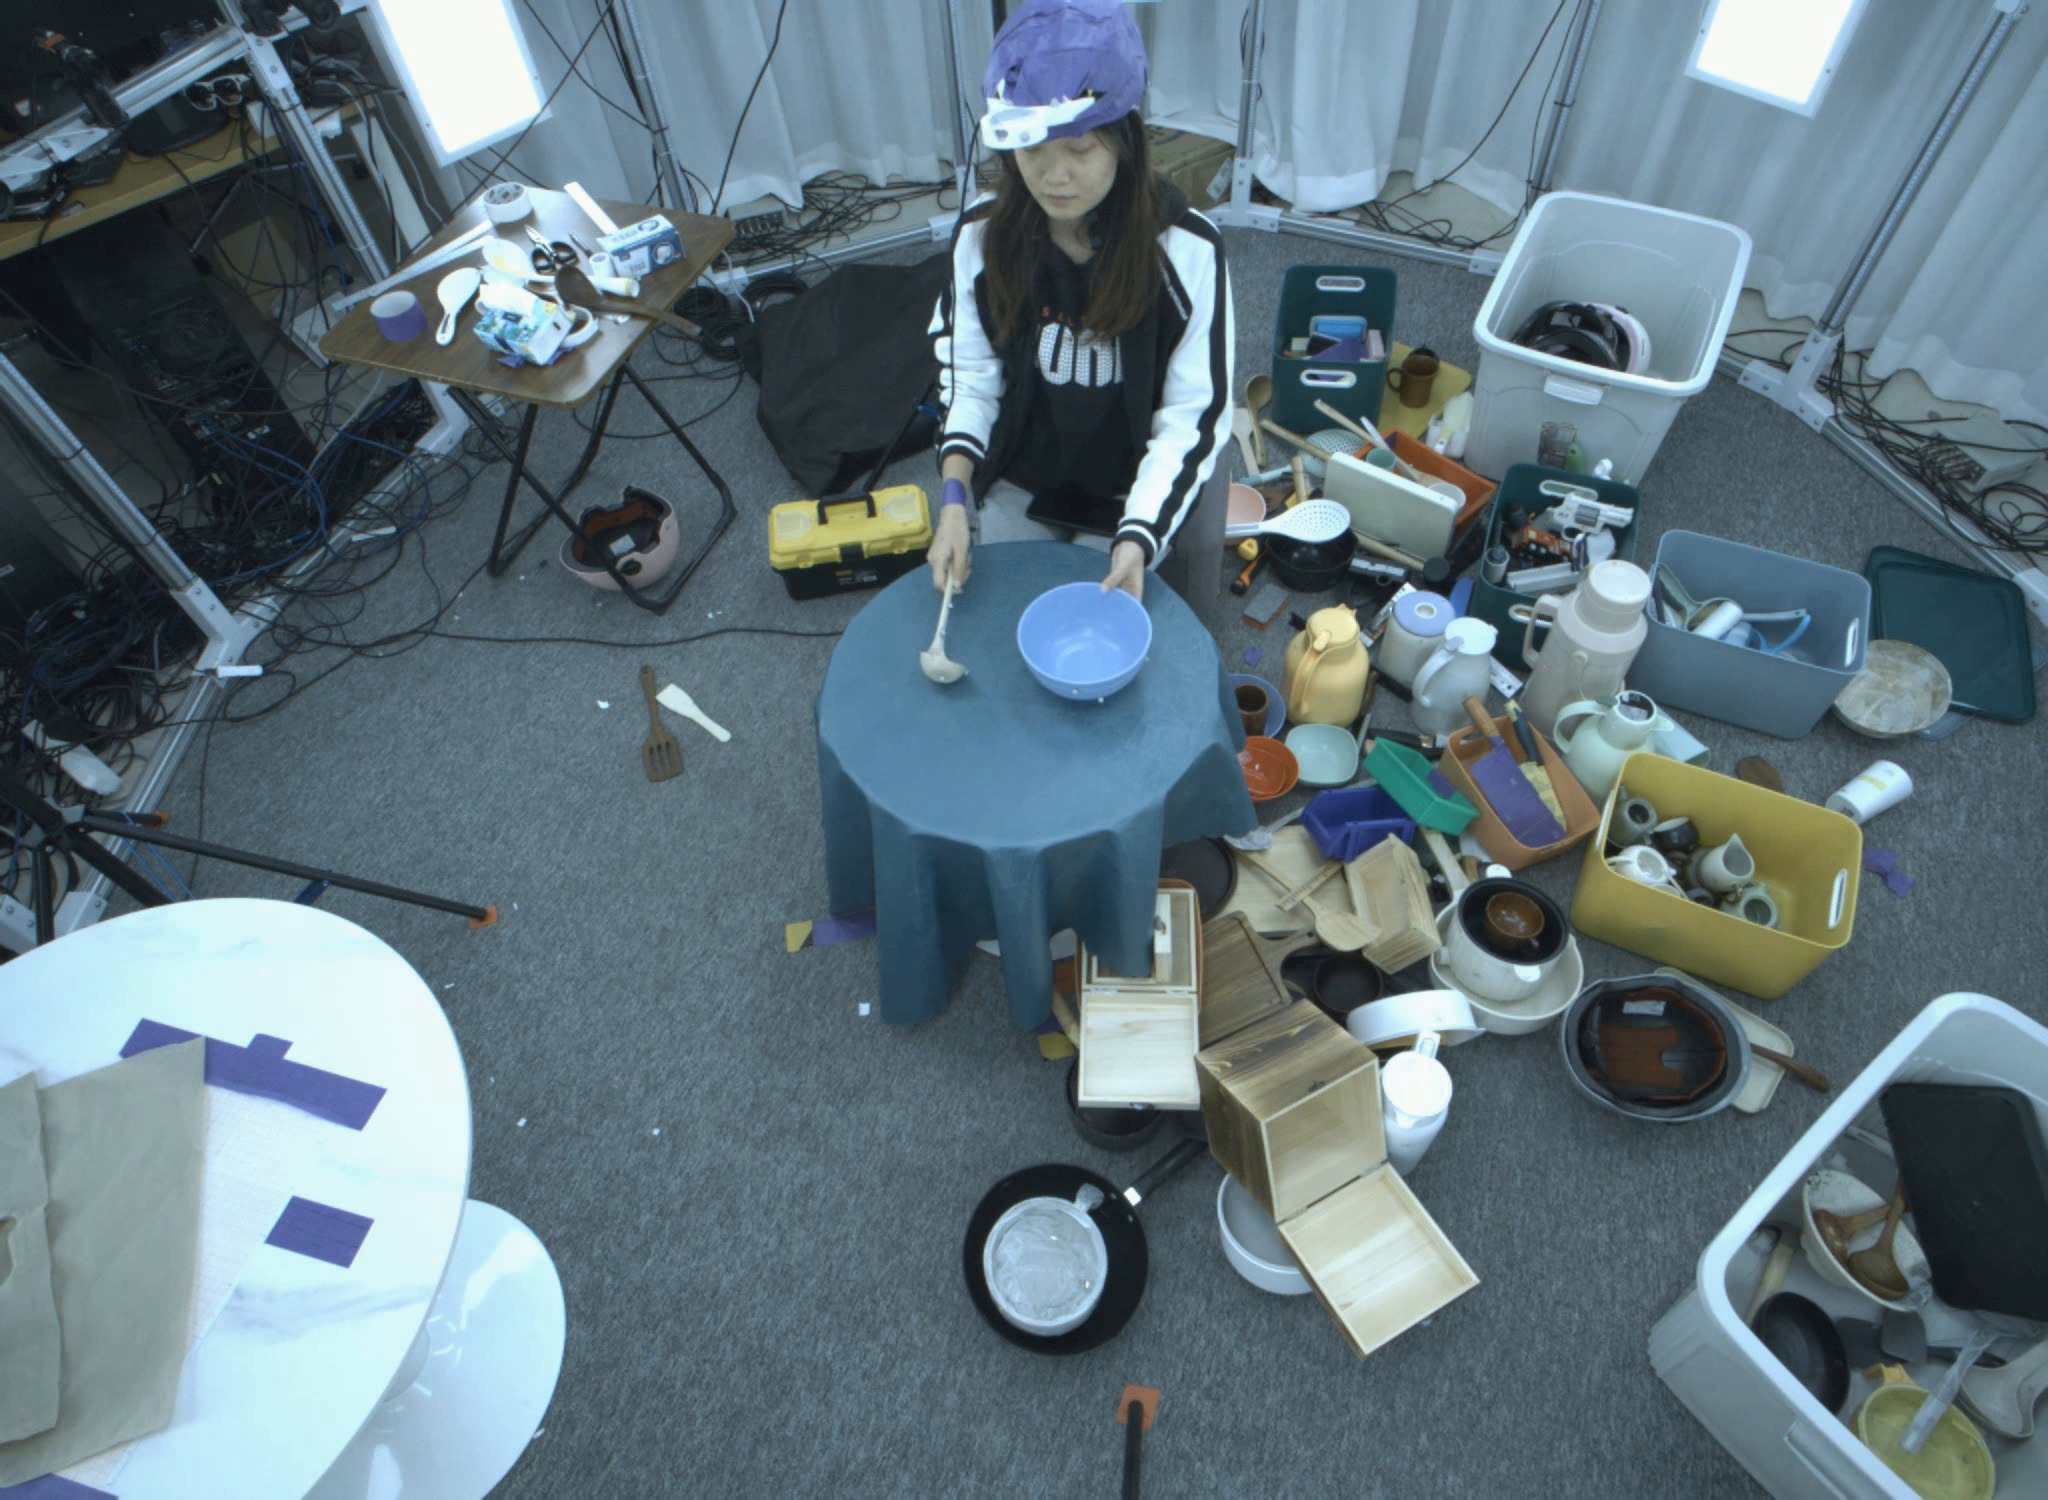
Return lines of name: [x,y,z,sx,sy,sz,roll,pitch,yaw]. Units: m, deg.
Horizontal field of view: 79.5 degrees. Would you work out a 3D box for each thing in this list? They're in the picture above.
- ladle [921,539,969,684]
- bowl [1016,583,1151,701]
ladle: [-0.109,-0.224,1.868,0.073,0.072,0.253,16,68,-29]
bowl: [0.090,-0.145,1.831,0.196,0.096,0.194,-1,55,3]
